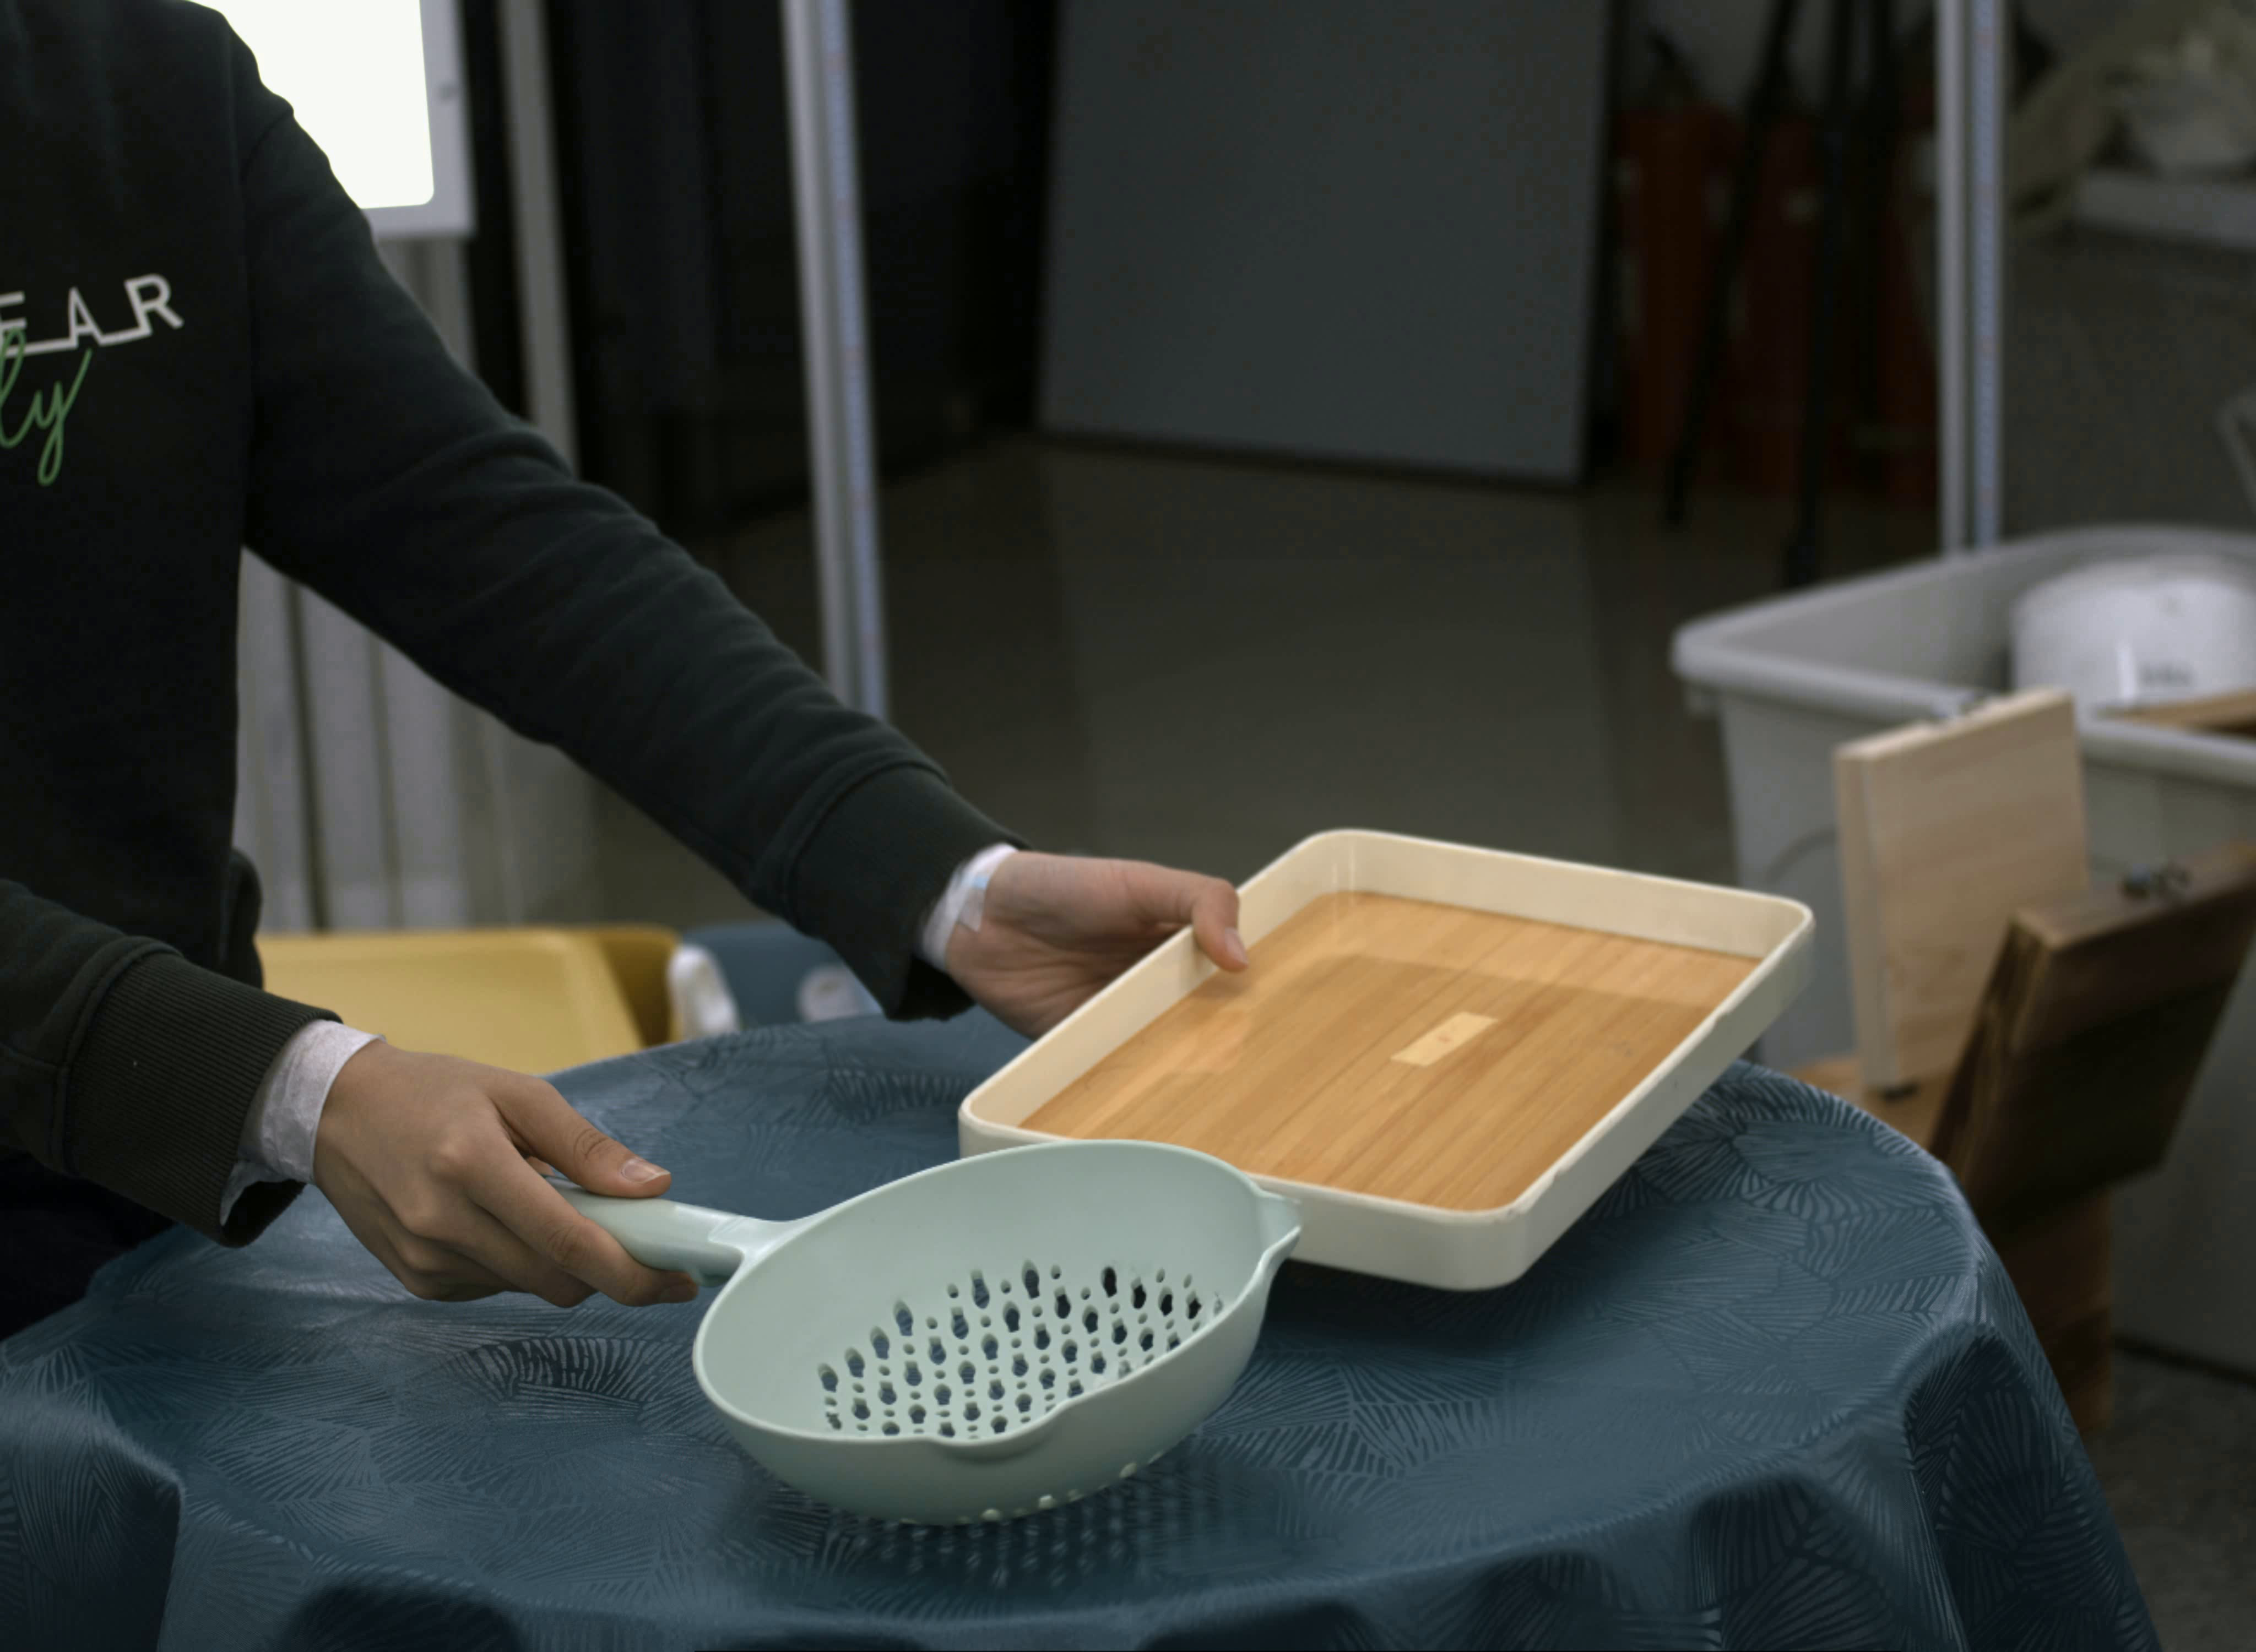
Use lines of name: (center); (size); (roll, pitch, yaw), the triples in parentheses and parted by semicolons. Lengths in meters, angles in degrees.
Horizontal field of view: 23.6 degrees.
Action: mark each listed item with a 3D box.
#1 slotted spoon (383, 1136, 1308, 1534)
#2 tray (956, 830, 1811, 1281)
slotted spoon: (-0.106, 0.131, 1.579); (0.362, 0.076, 0.166); (16, 36, 41)
tray: (0.089, 0.069, 1.742); (0.192, 0.028, 0.296); (8, 21, 25)
